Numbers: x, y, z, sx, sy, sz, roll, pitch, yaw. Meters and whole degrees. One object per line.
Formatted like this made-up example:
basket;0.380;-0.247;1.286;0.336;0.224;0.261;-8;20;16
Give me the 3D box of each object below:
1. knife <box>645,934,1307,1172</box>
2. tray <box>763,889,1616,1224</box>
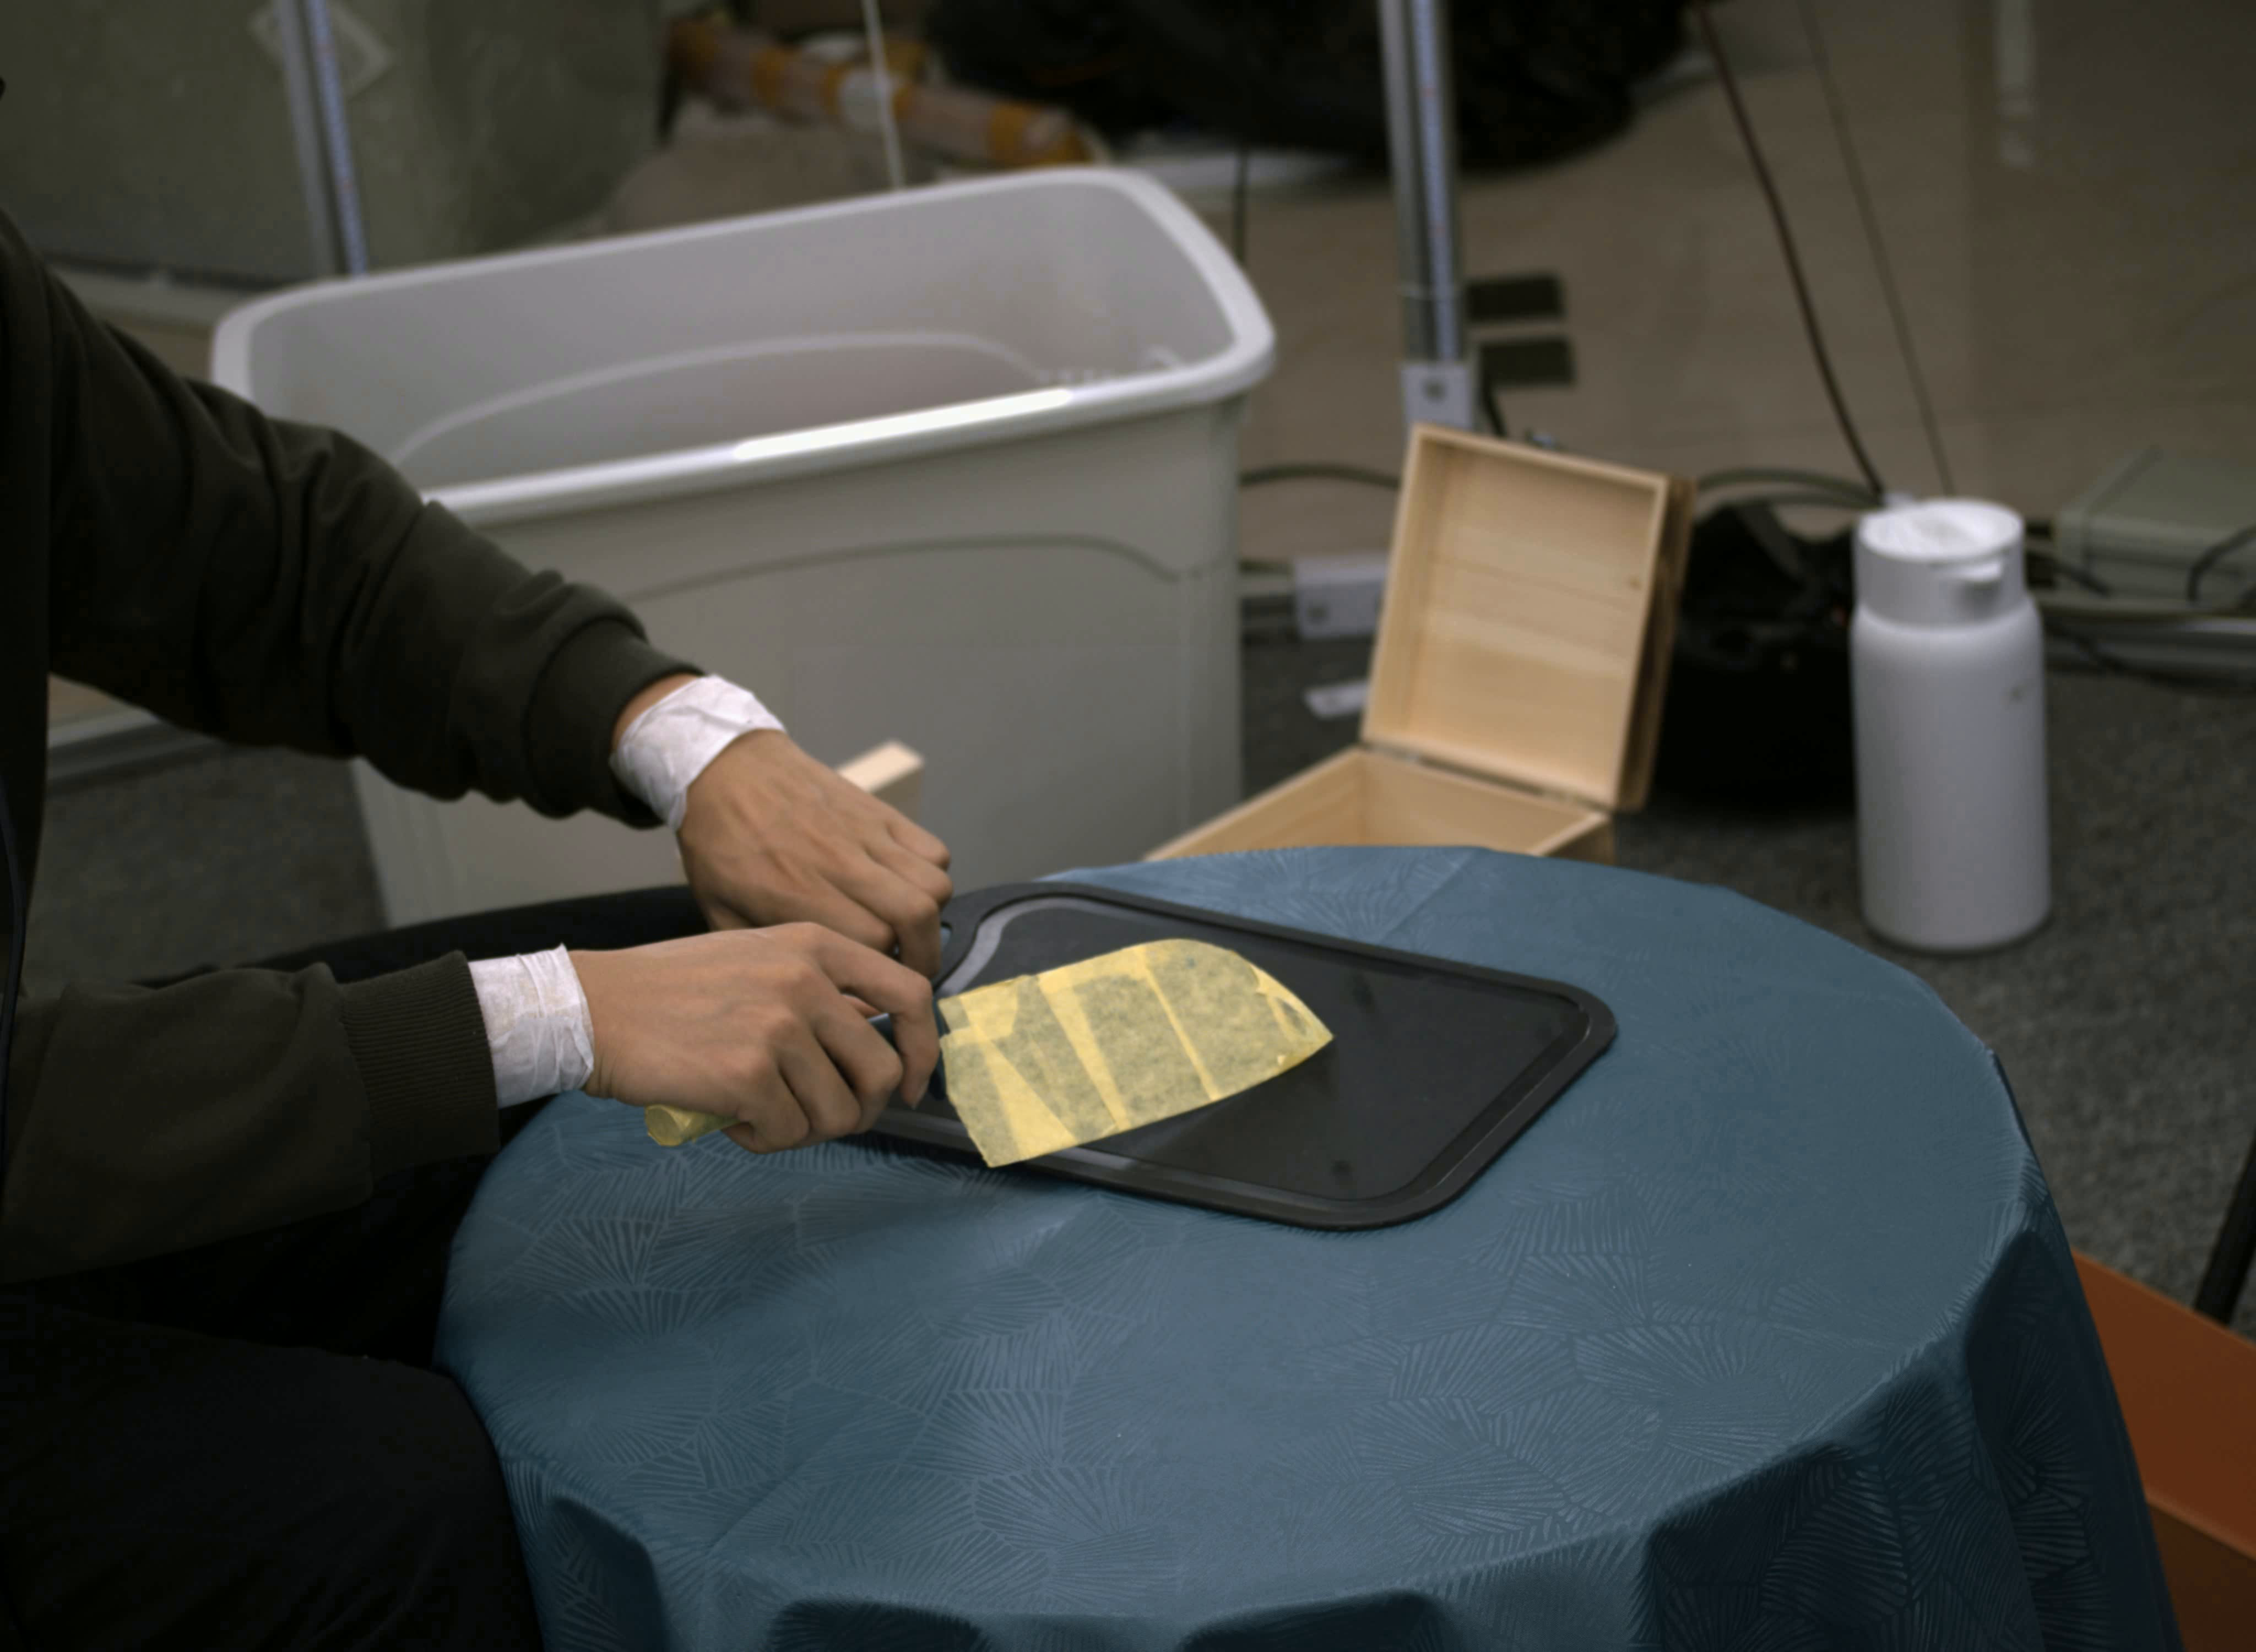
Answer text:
knife;-0.051;0.095;2.164;0.288;0.027;0.080;-13;64;-30
tray;0.016;0.086;2.244;0.324;0.010;0.208;11;30;29
